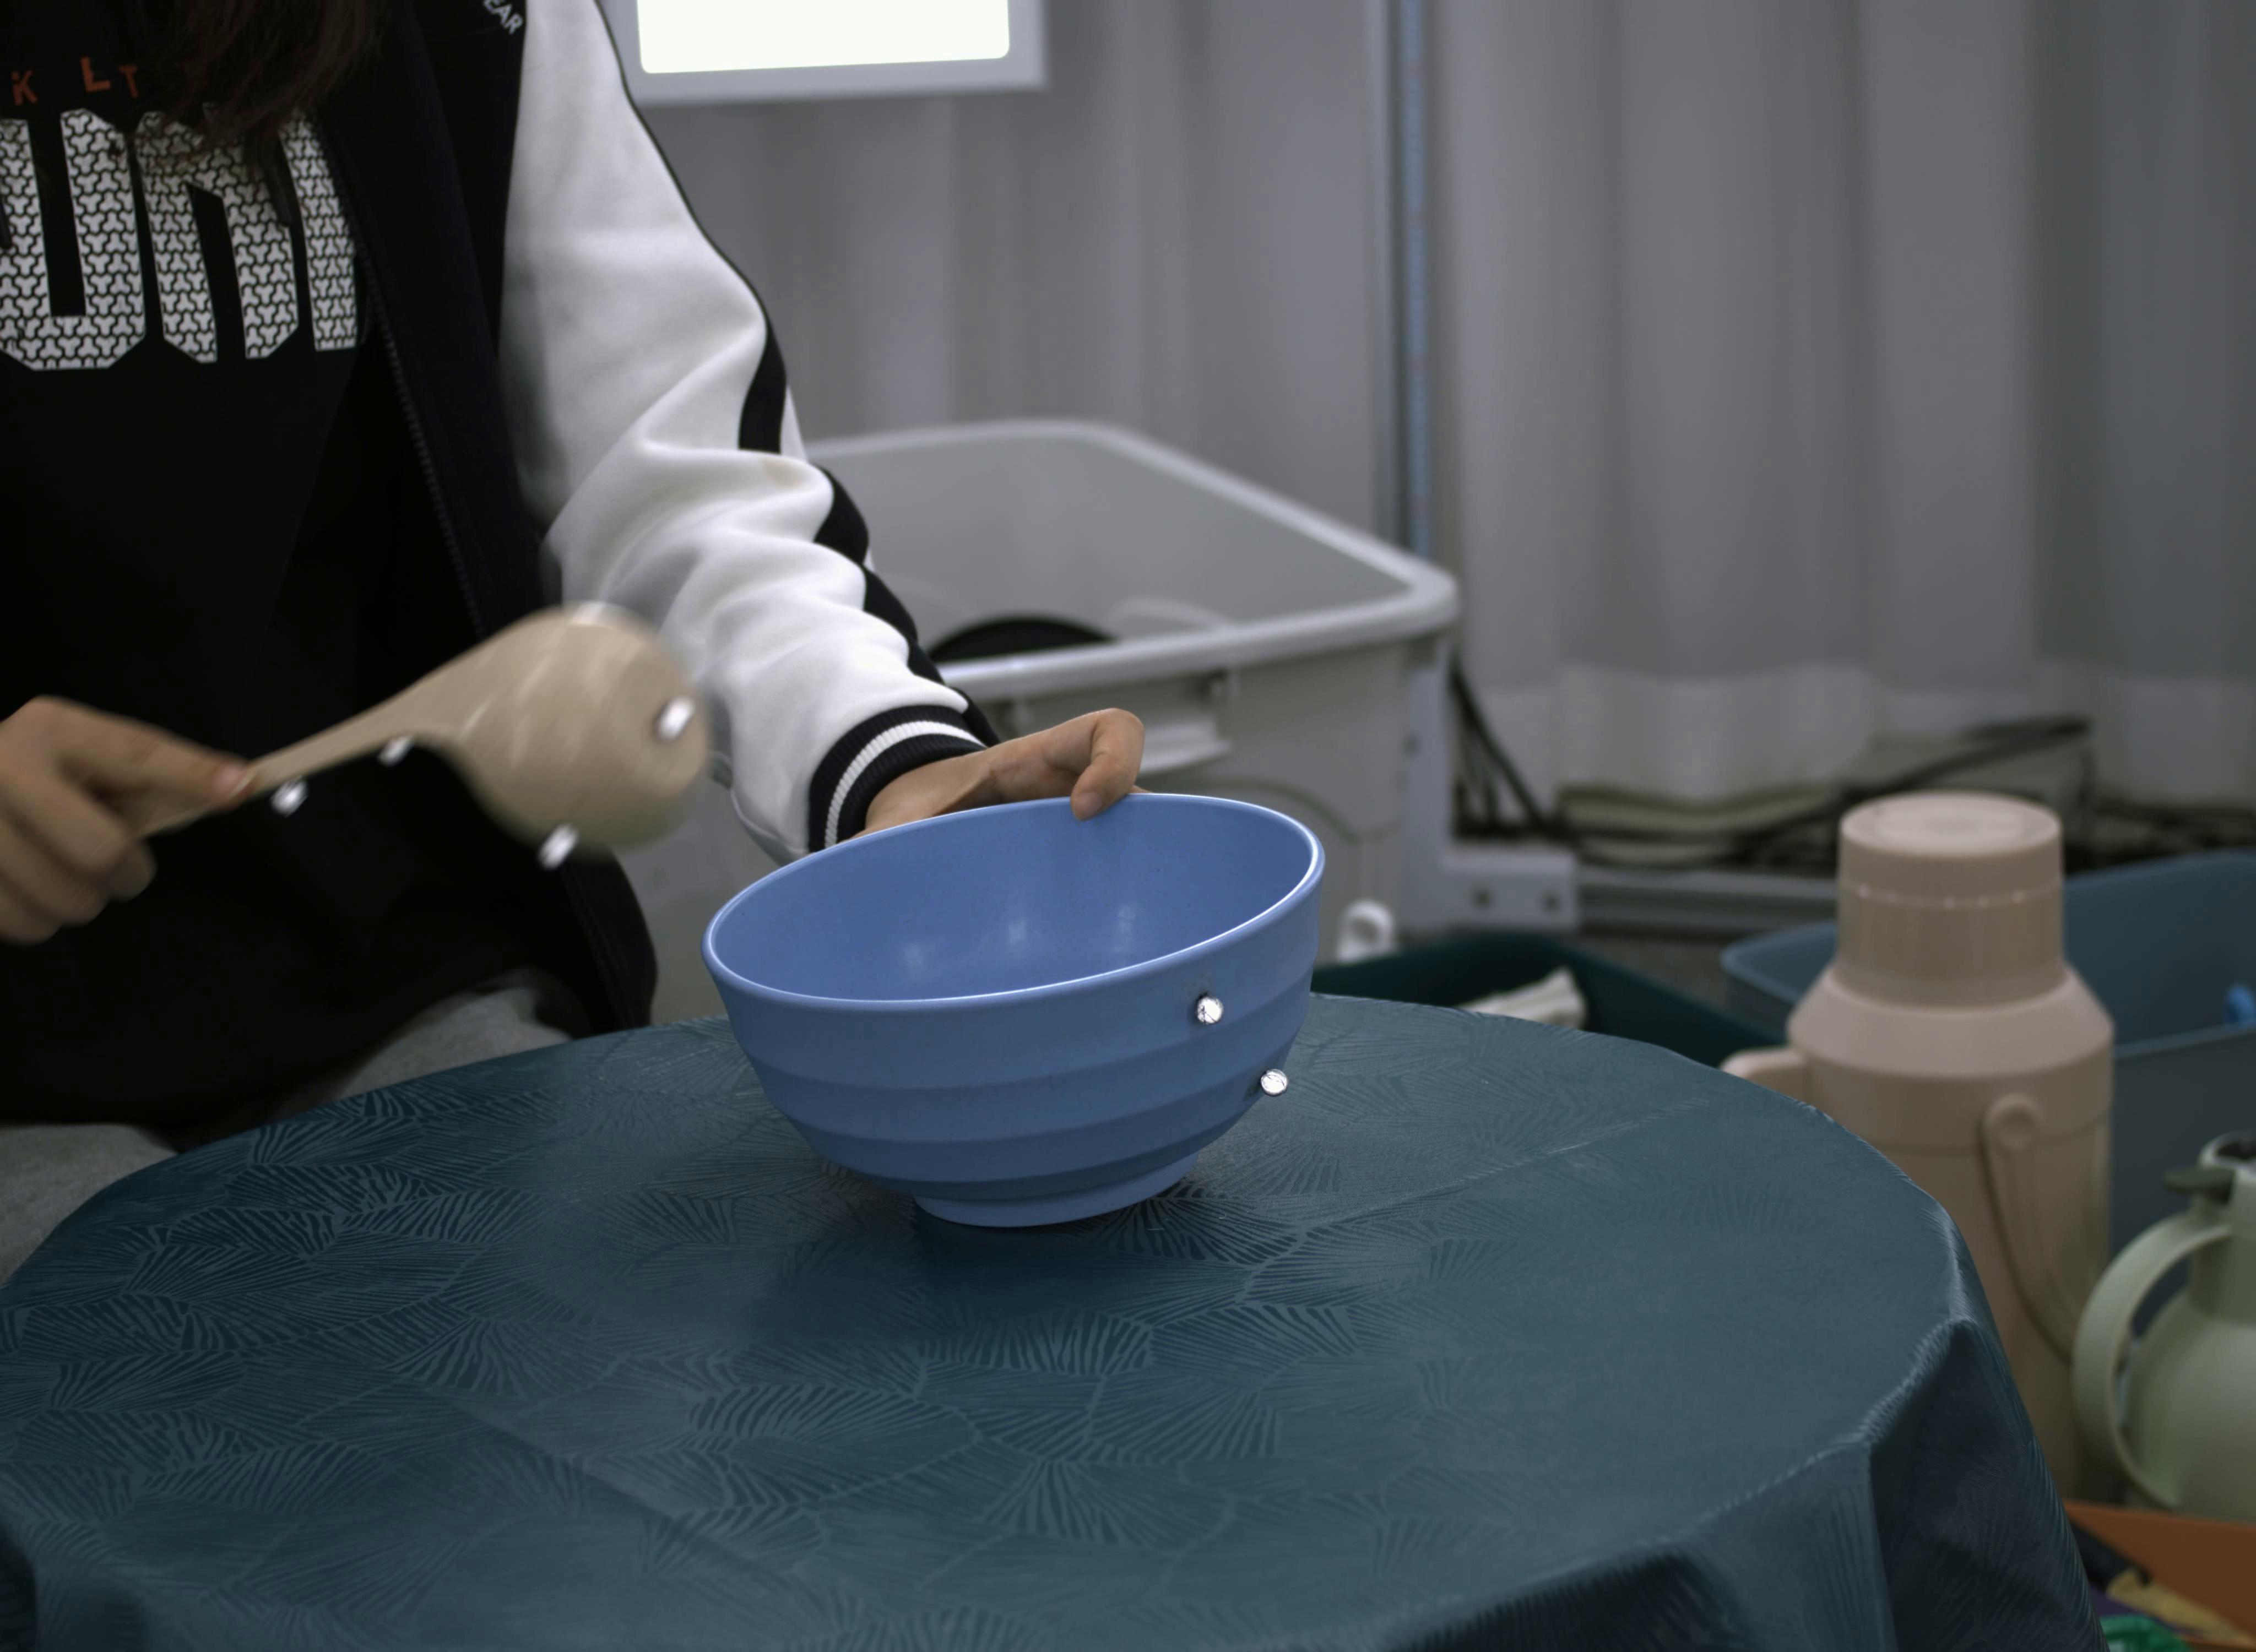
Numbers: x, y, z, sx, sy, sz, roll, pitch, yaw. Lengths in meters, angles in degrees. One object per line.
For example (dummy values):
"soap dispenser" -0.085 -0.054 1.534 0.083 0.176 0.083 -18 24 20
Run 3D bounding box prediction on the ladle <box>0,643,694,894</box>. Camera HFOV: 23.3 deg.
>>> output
"ladle" -0.233 0.002 1.608 0.254 0.073 0.072 -14 -39 40

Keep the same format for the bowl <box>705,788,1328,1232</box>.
"bowl" -0.028 0.066 1.711 0.196 0.095 0.198 -9 18 2
